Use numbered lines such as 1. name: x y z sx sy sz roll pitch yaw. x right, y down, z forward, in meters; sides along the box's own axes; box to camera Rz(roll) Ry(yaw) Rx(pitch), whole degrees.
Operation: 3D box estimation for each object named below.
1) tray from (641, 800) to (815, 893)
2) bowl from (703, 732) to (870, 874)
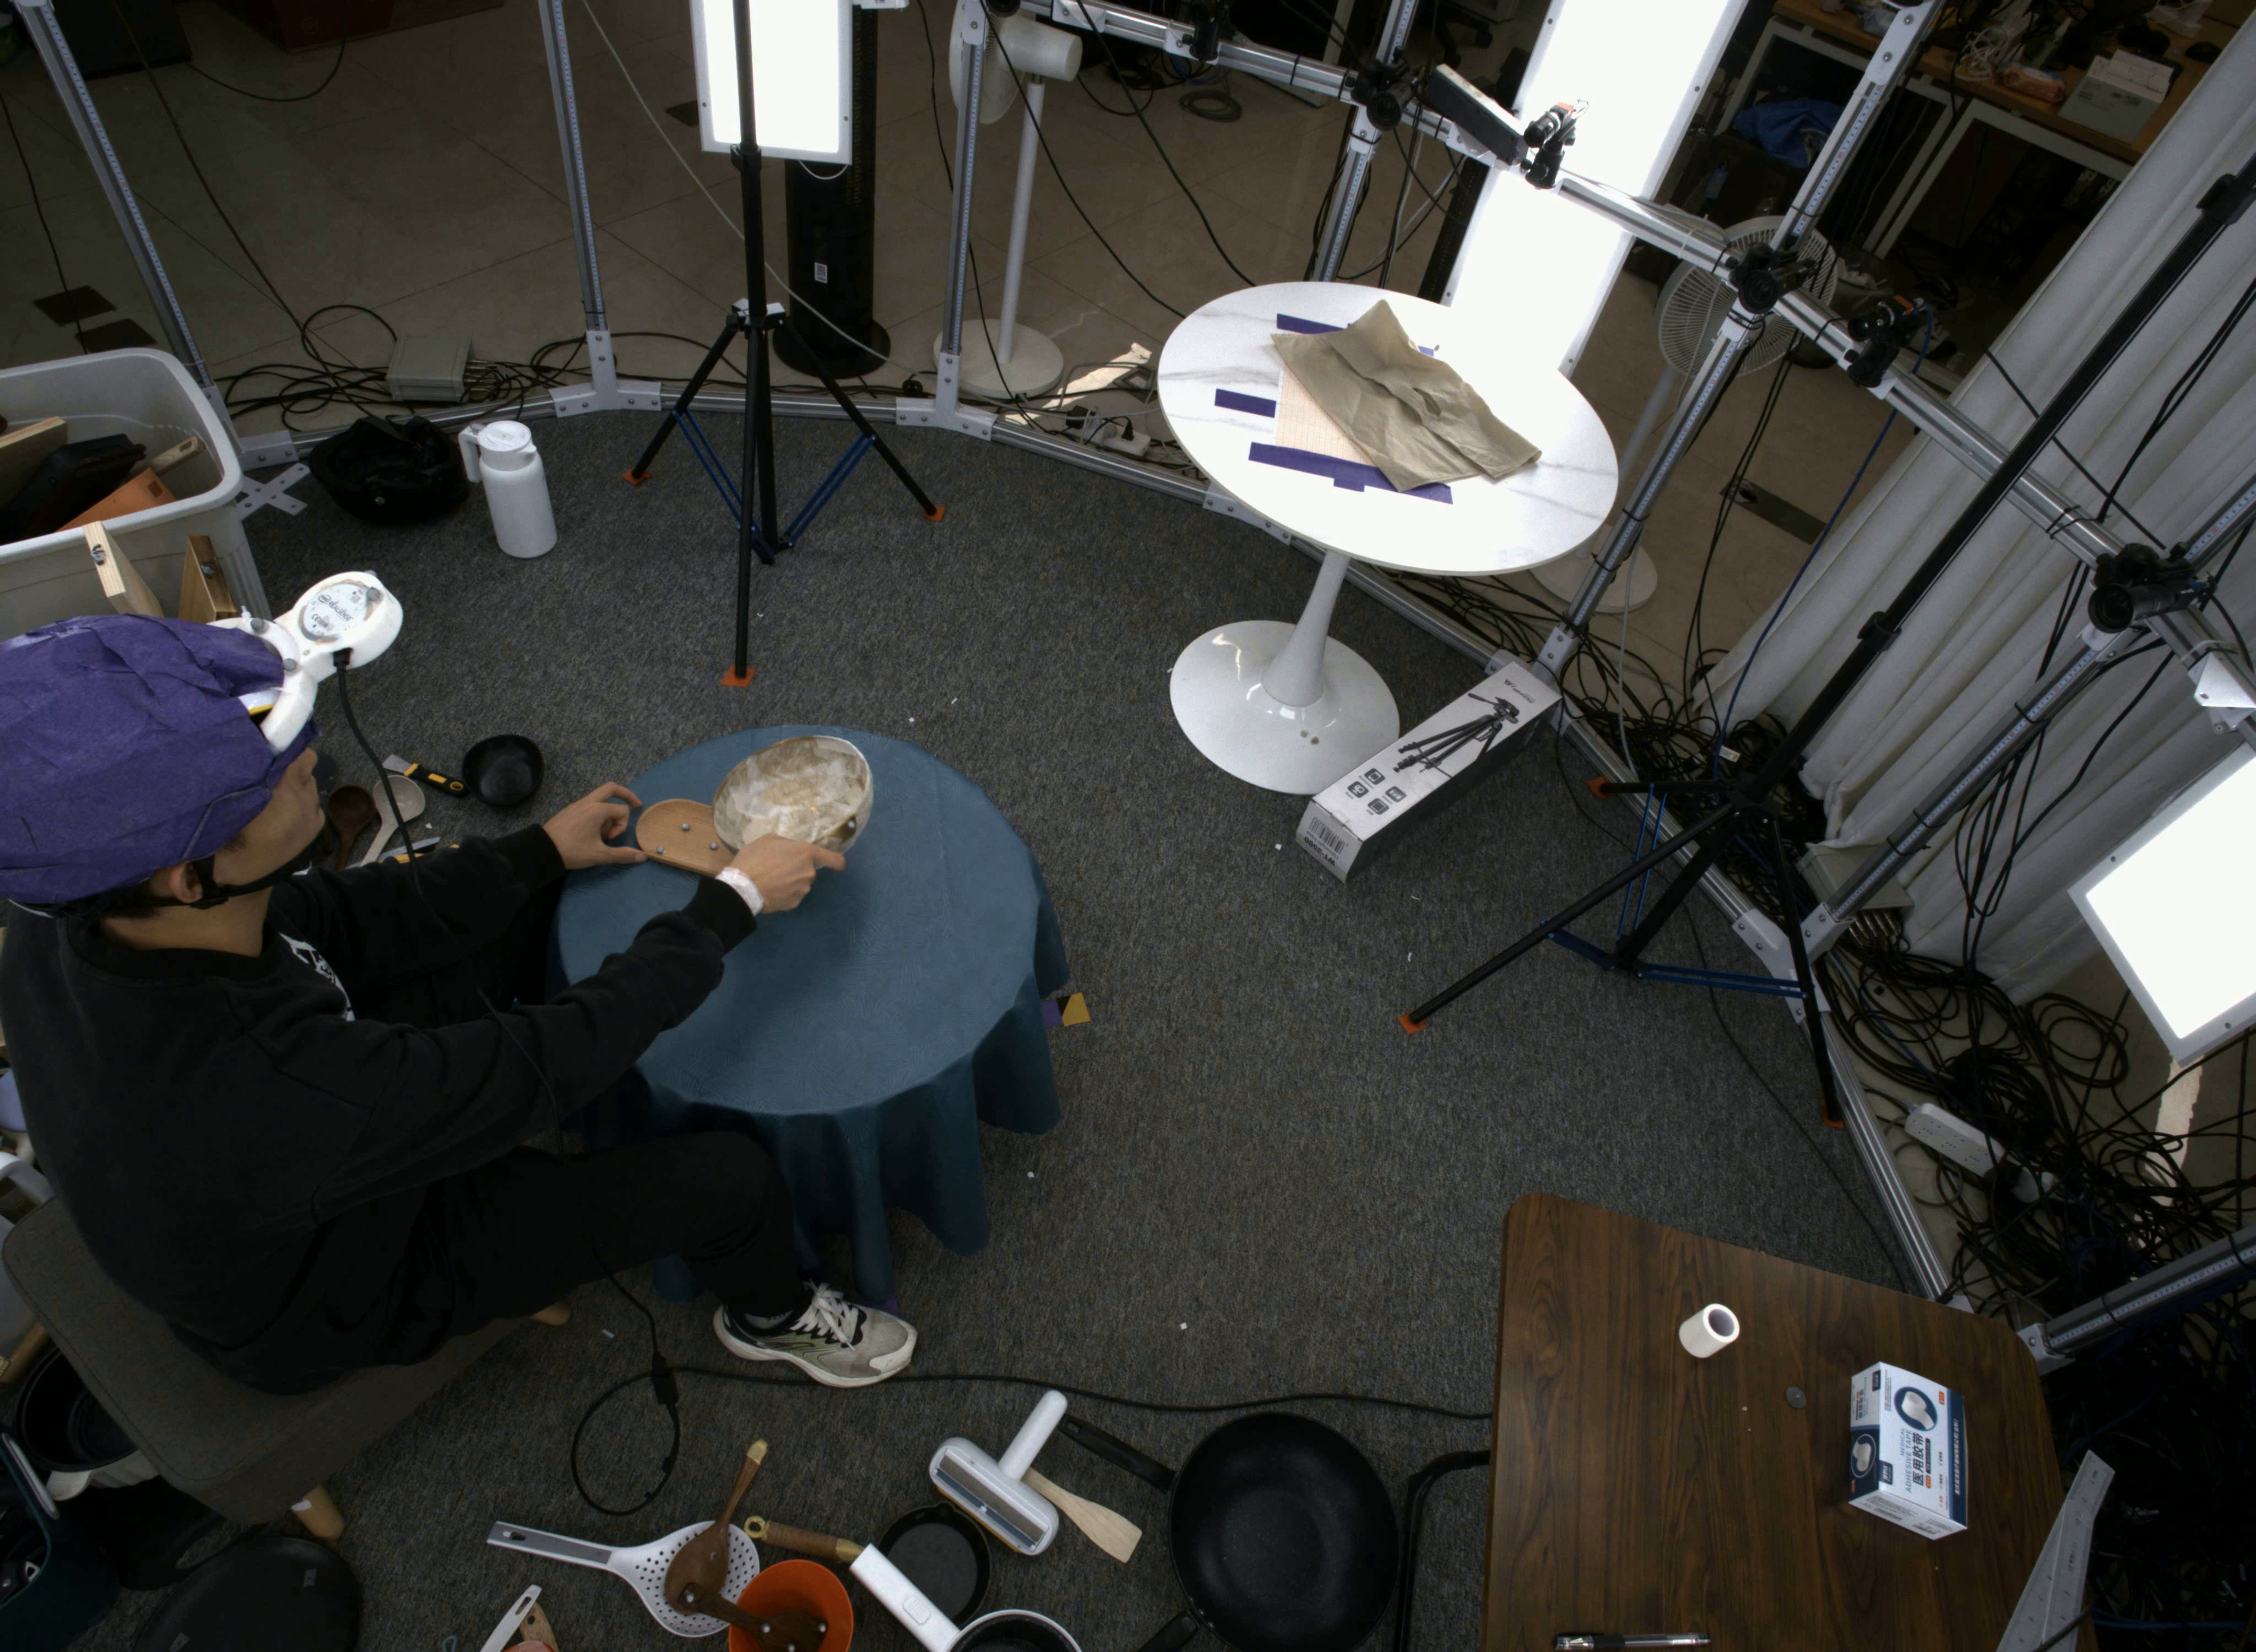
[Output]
1. tray: -0.519 0.025 1.676 0.230 0.020 0.100 16 54 -5
2. bowl: -0.413 -0.014 1.617 0.211 0.098 0.210 -6 48 8
